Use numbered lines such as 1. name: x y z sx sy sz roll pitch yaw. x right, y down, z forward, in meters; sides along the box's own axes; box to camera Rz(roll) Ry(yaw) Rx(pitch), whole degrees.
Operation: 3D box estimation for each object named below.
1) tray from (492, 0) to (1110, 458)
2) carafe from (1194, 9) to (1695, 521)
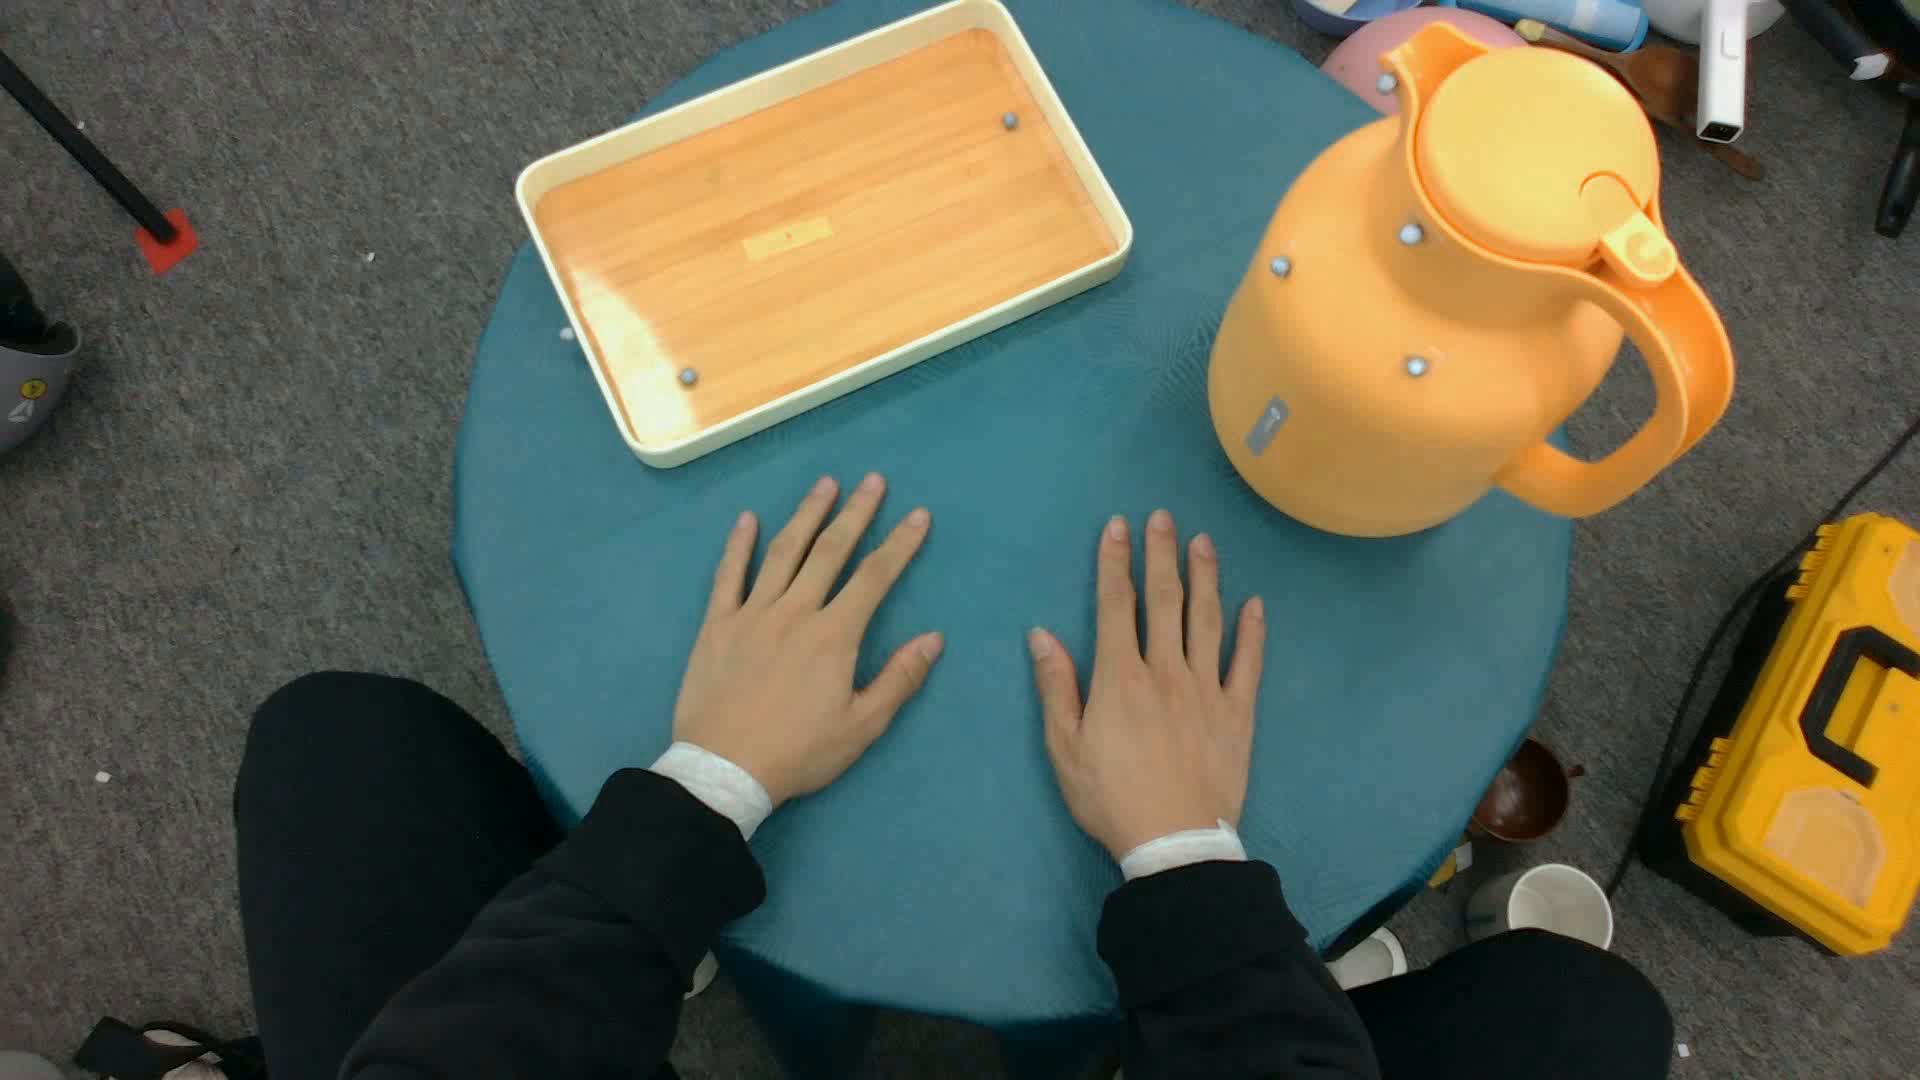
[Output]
1. tray: -0.087 -0.183 0.767 0.301 0.027 0.192 -25 74 -10
2. carafe: 0.215 -0.102 0.631 0.164 0.259 0.202 -34 75 -9
